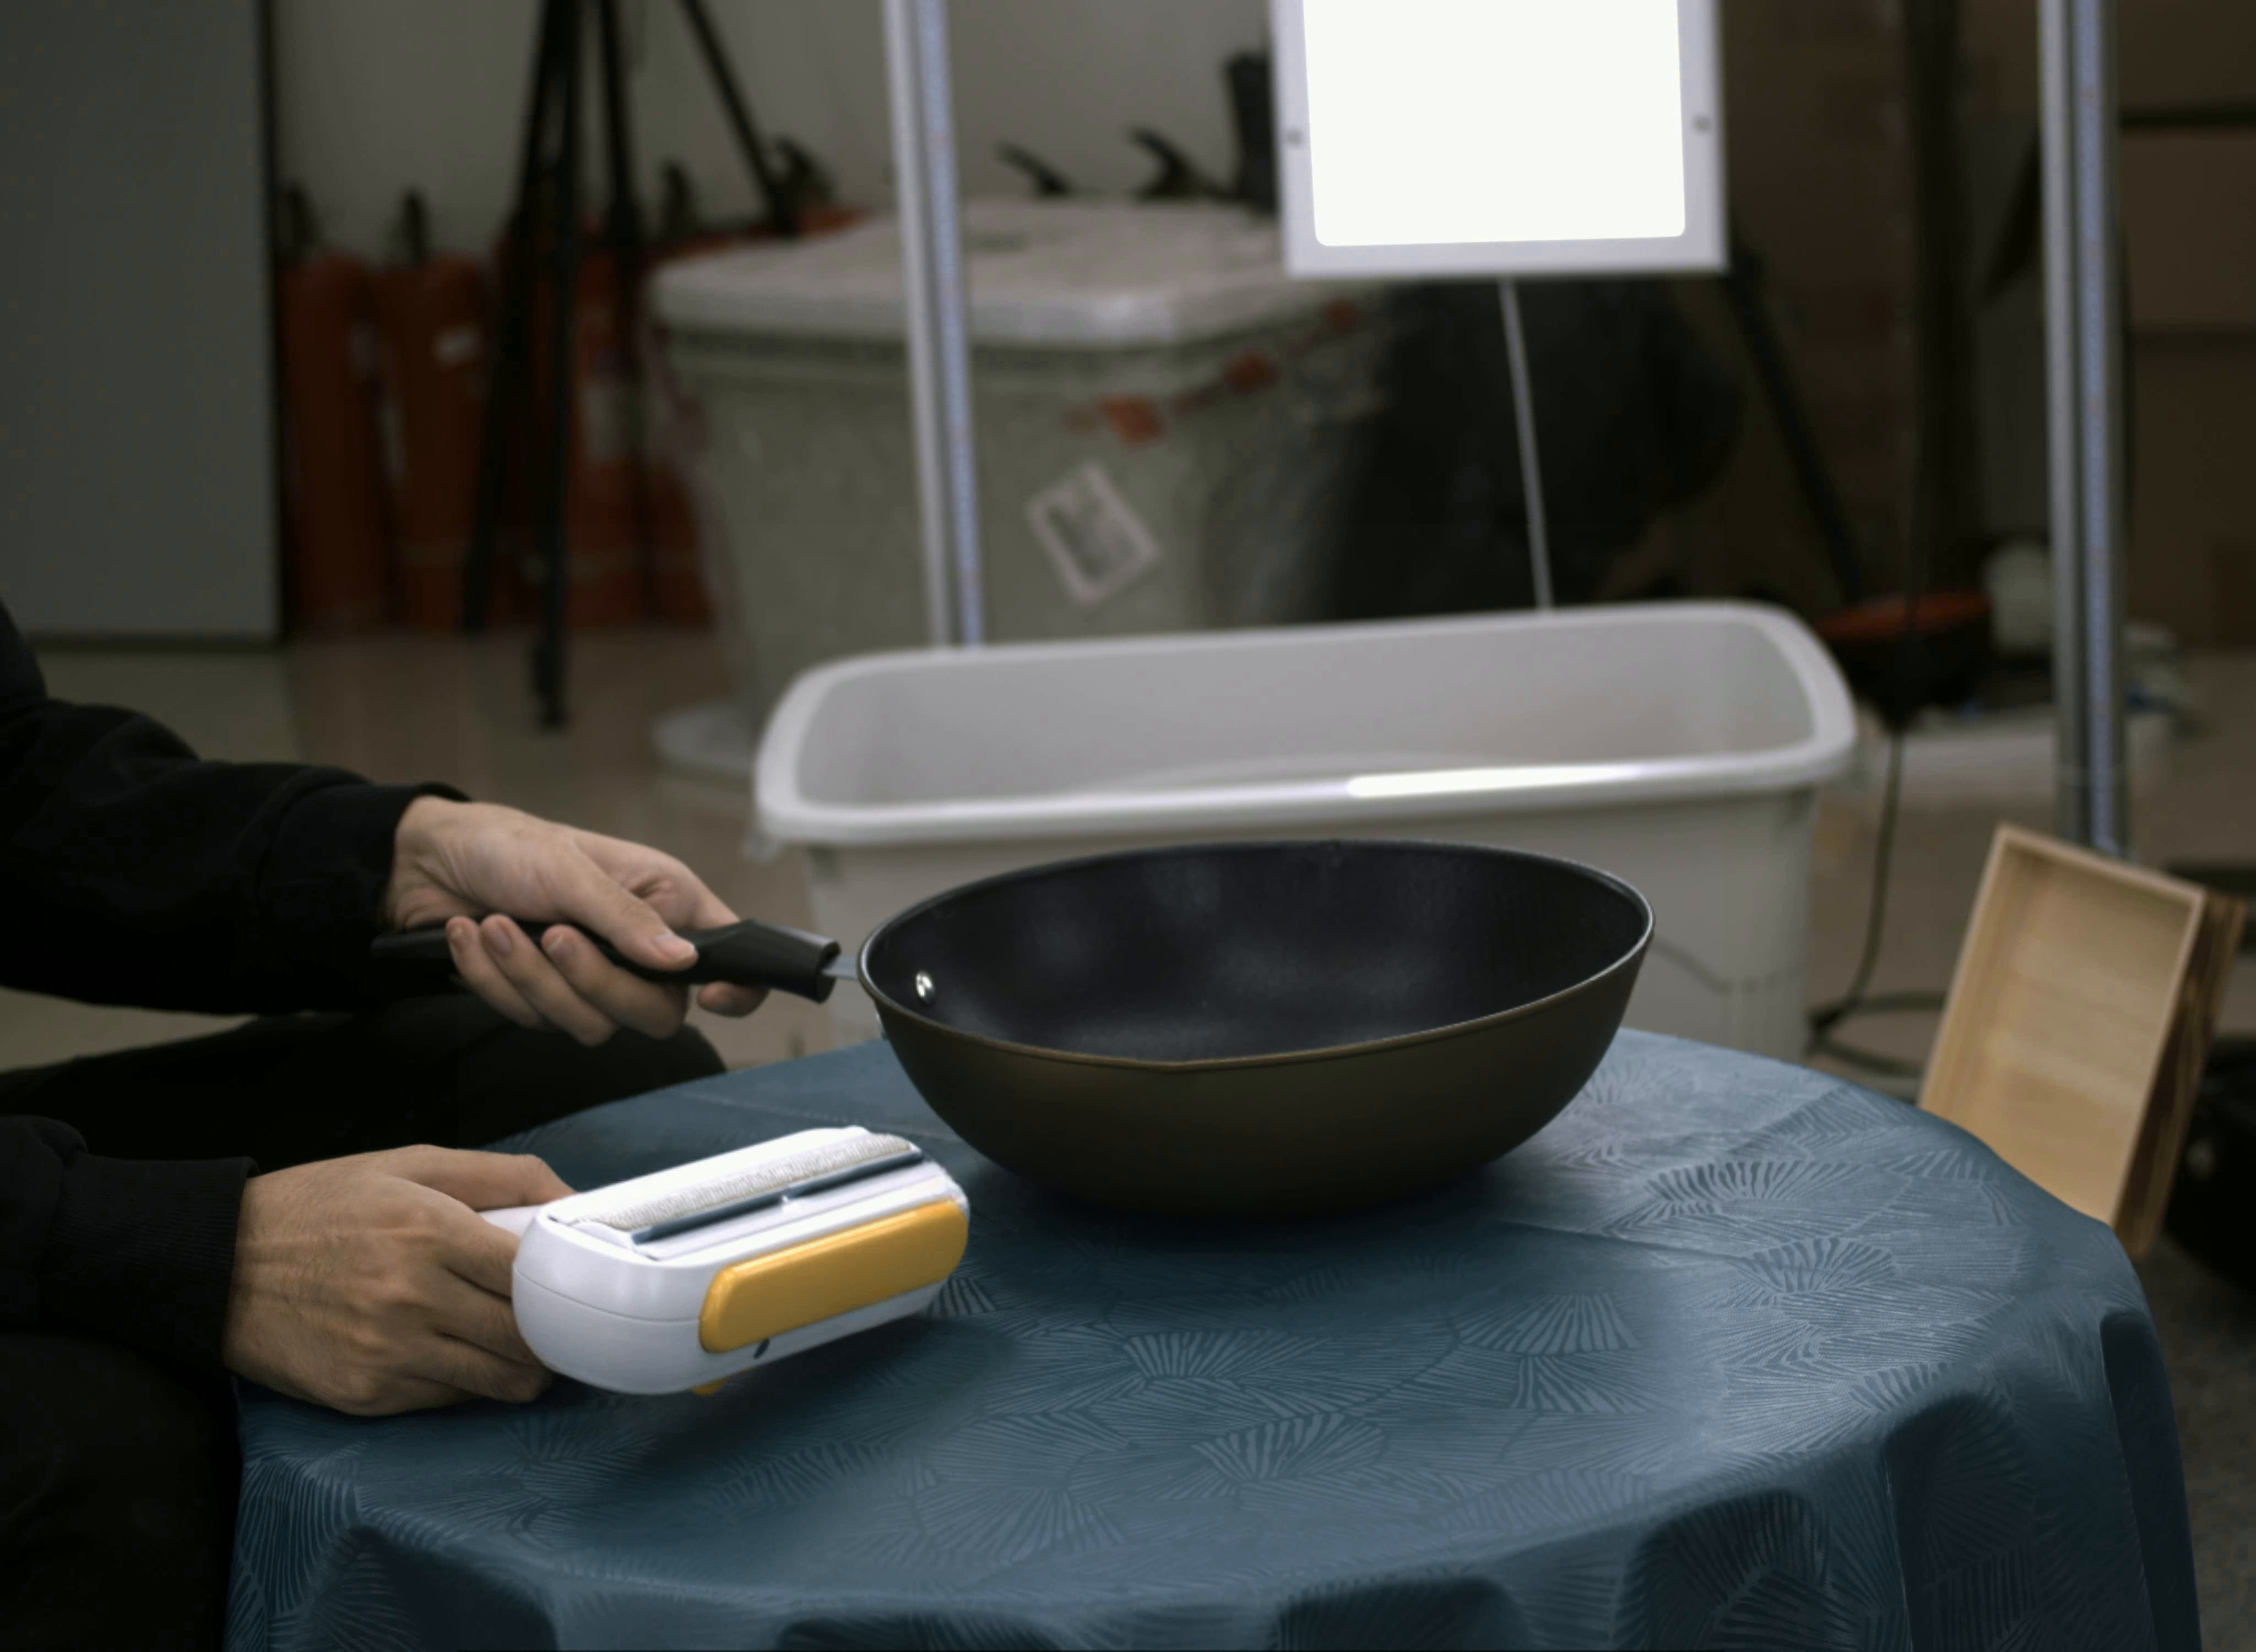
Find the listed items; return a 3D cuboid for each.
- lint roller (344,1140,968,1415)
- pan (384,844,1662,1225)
[{"bbox_3d":[-0.170,0.135,1.745,0.196,0.074,0.188,10,15,34],"label":"lint roller"},{"bbox_3d":[-0.041,0.077,1.932,0.468,0.087,0.284,-1,14,16],"label":"pan"}]
